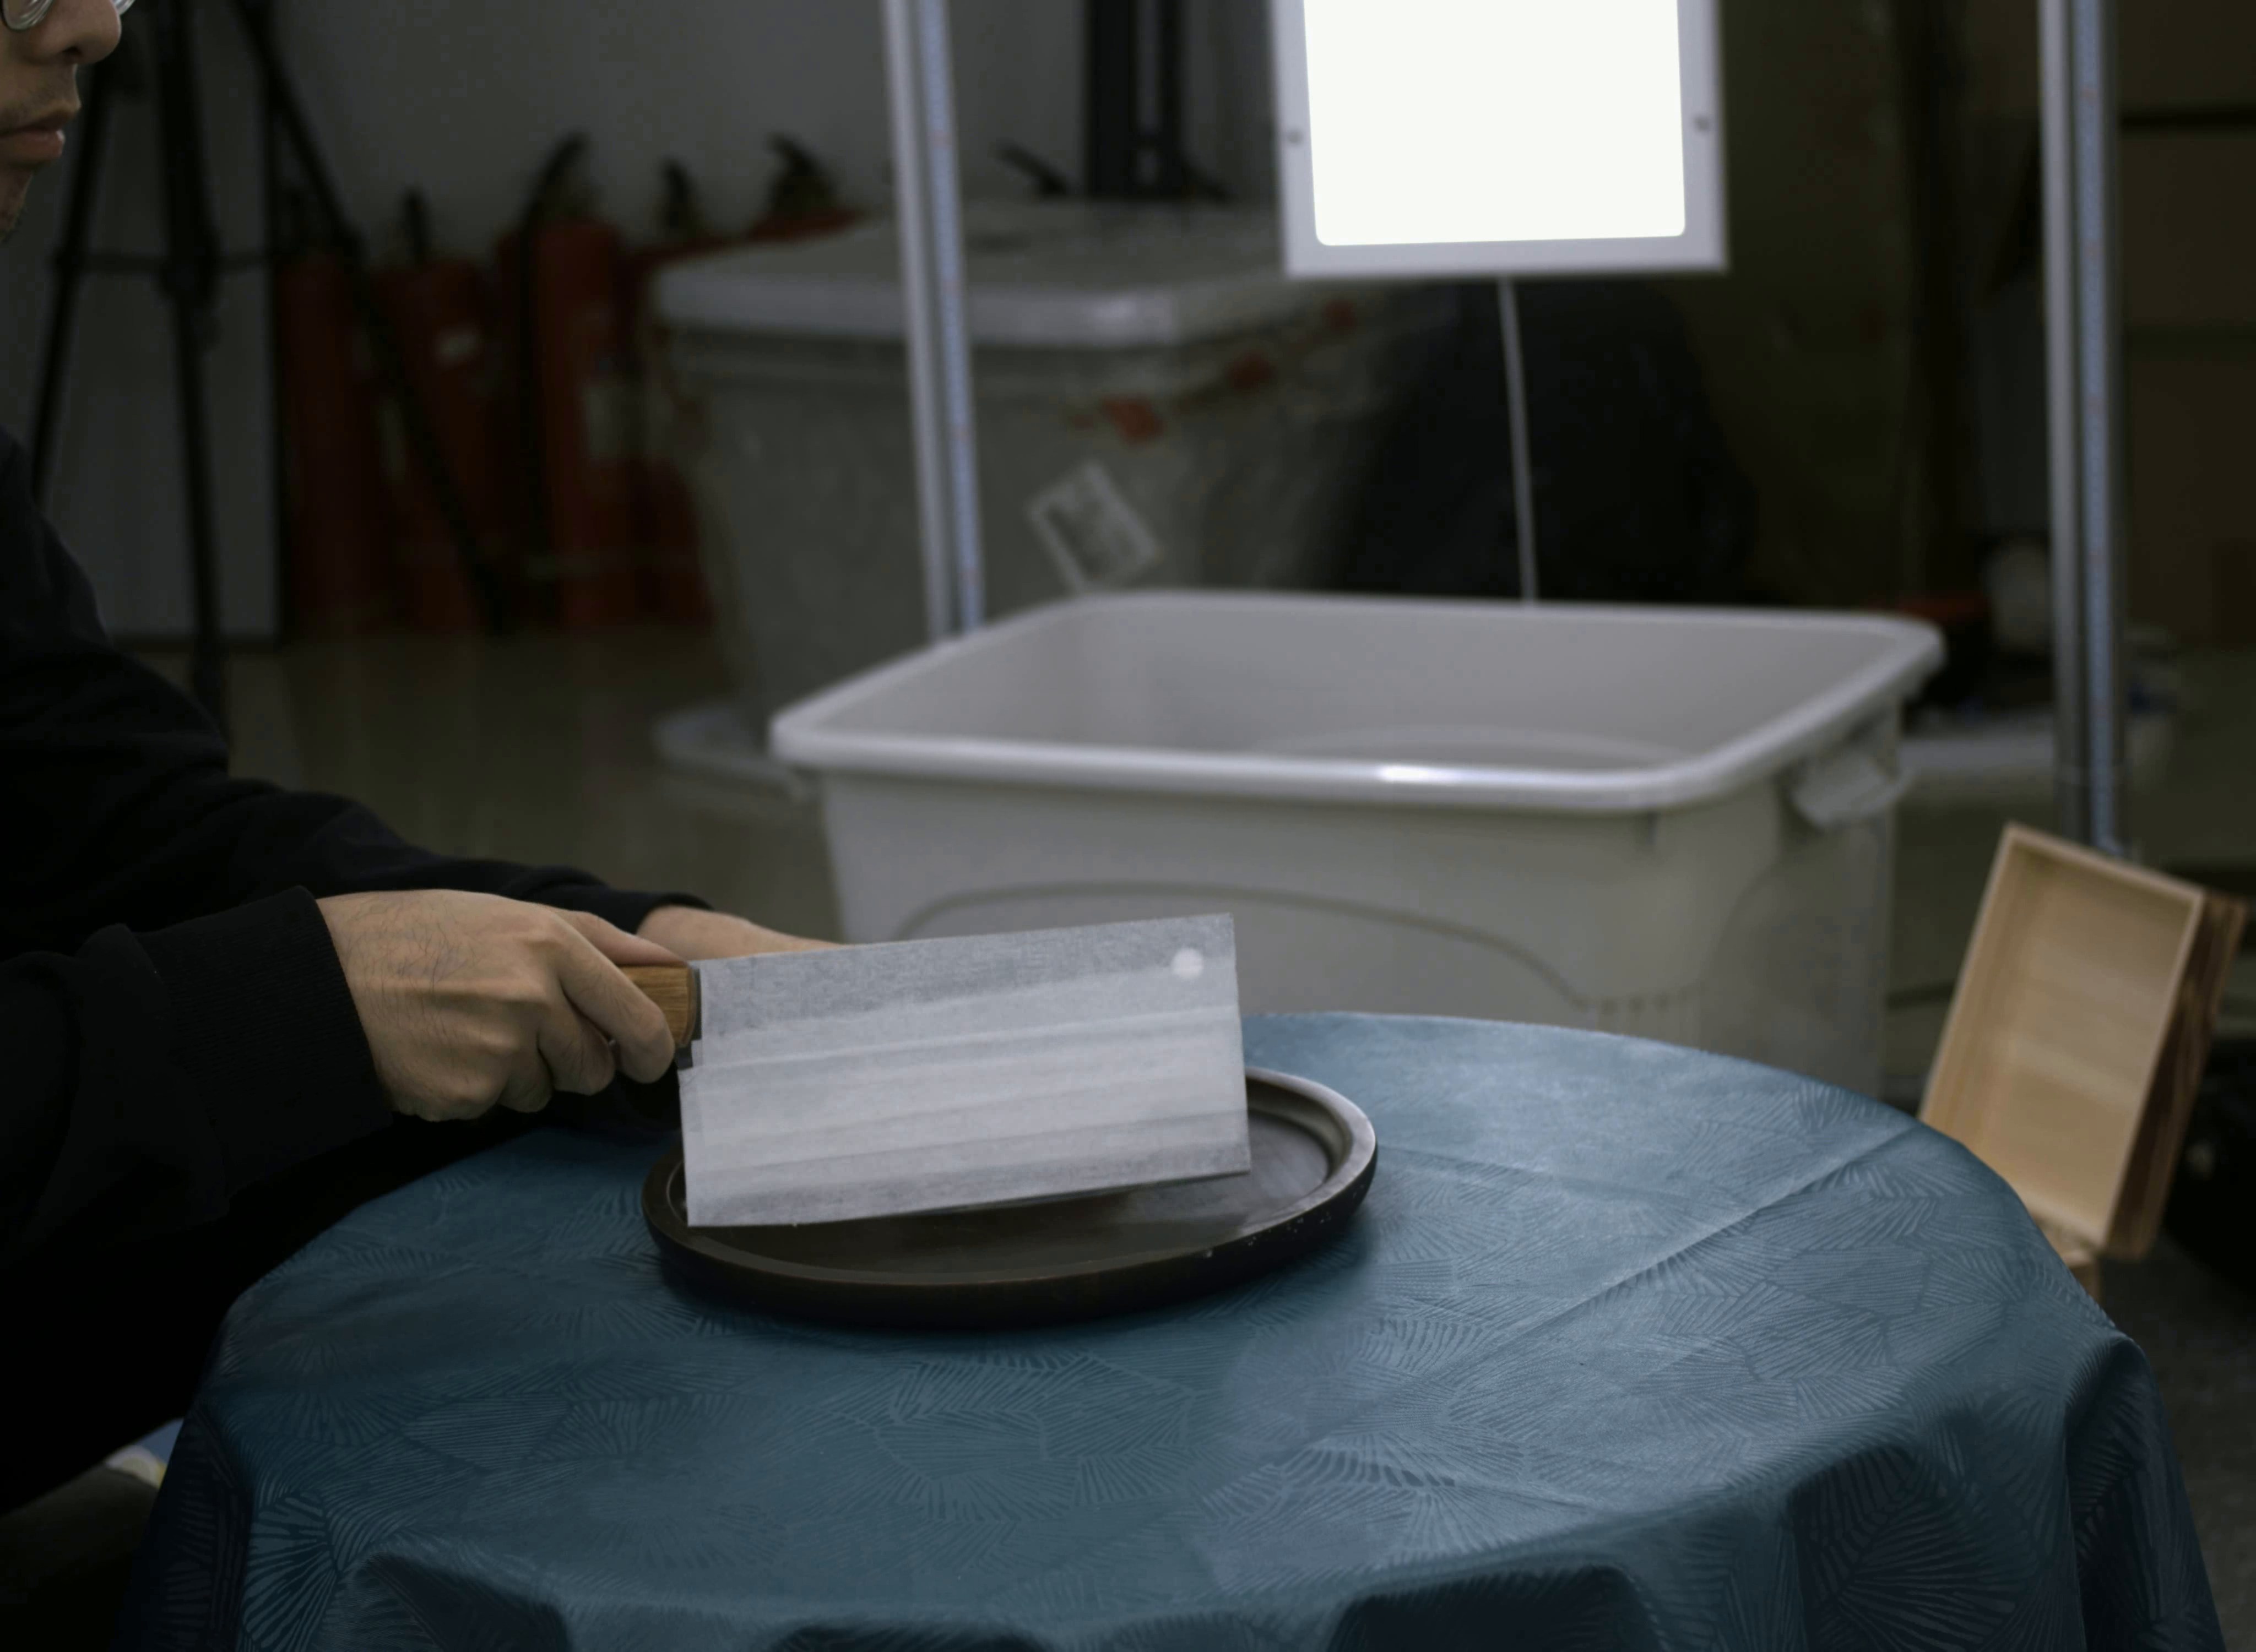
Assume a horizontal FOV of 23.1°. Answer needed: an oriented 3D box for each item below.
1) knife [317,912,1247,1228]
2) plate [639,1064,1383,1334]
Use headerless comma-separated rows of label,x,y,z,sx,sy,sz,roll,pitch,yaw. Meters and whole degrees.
knife,-0.112,0.085,1.823,0.304,0.093,0.021,-5,6,-4
plate,-0.039,0.123,1.873,0.254,0.029,0.254,-4,16,0
